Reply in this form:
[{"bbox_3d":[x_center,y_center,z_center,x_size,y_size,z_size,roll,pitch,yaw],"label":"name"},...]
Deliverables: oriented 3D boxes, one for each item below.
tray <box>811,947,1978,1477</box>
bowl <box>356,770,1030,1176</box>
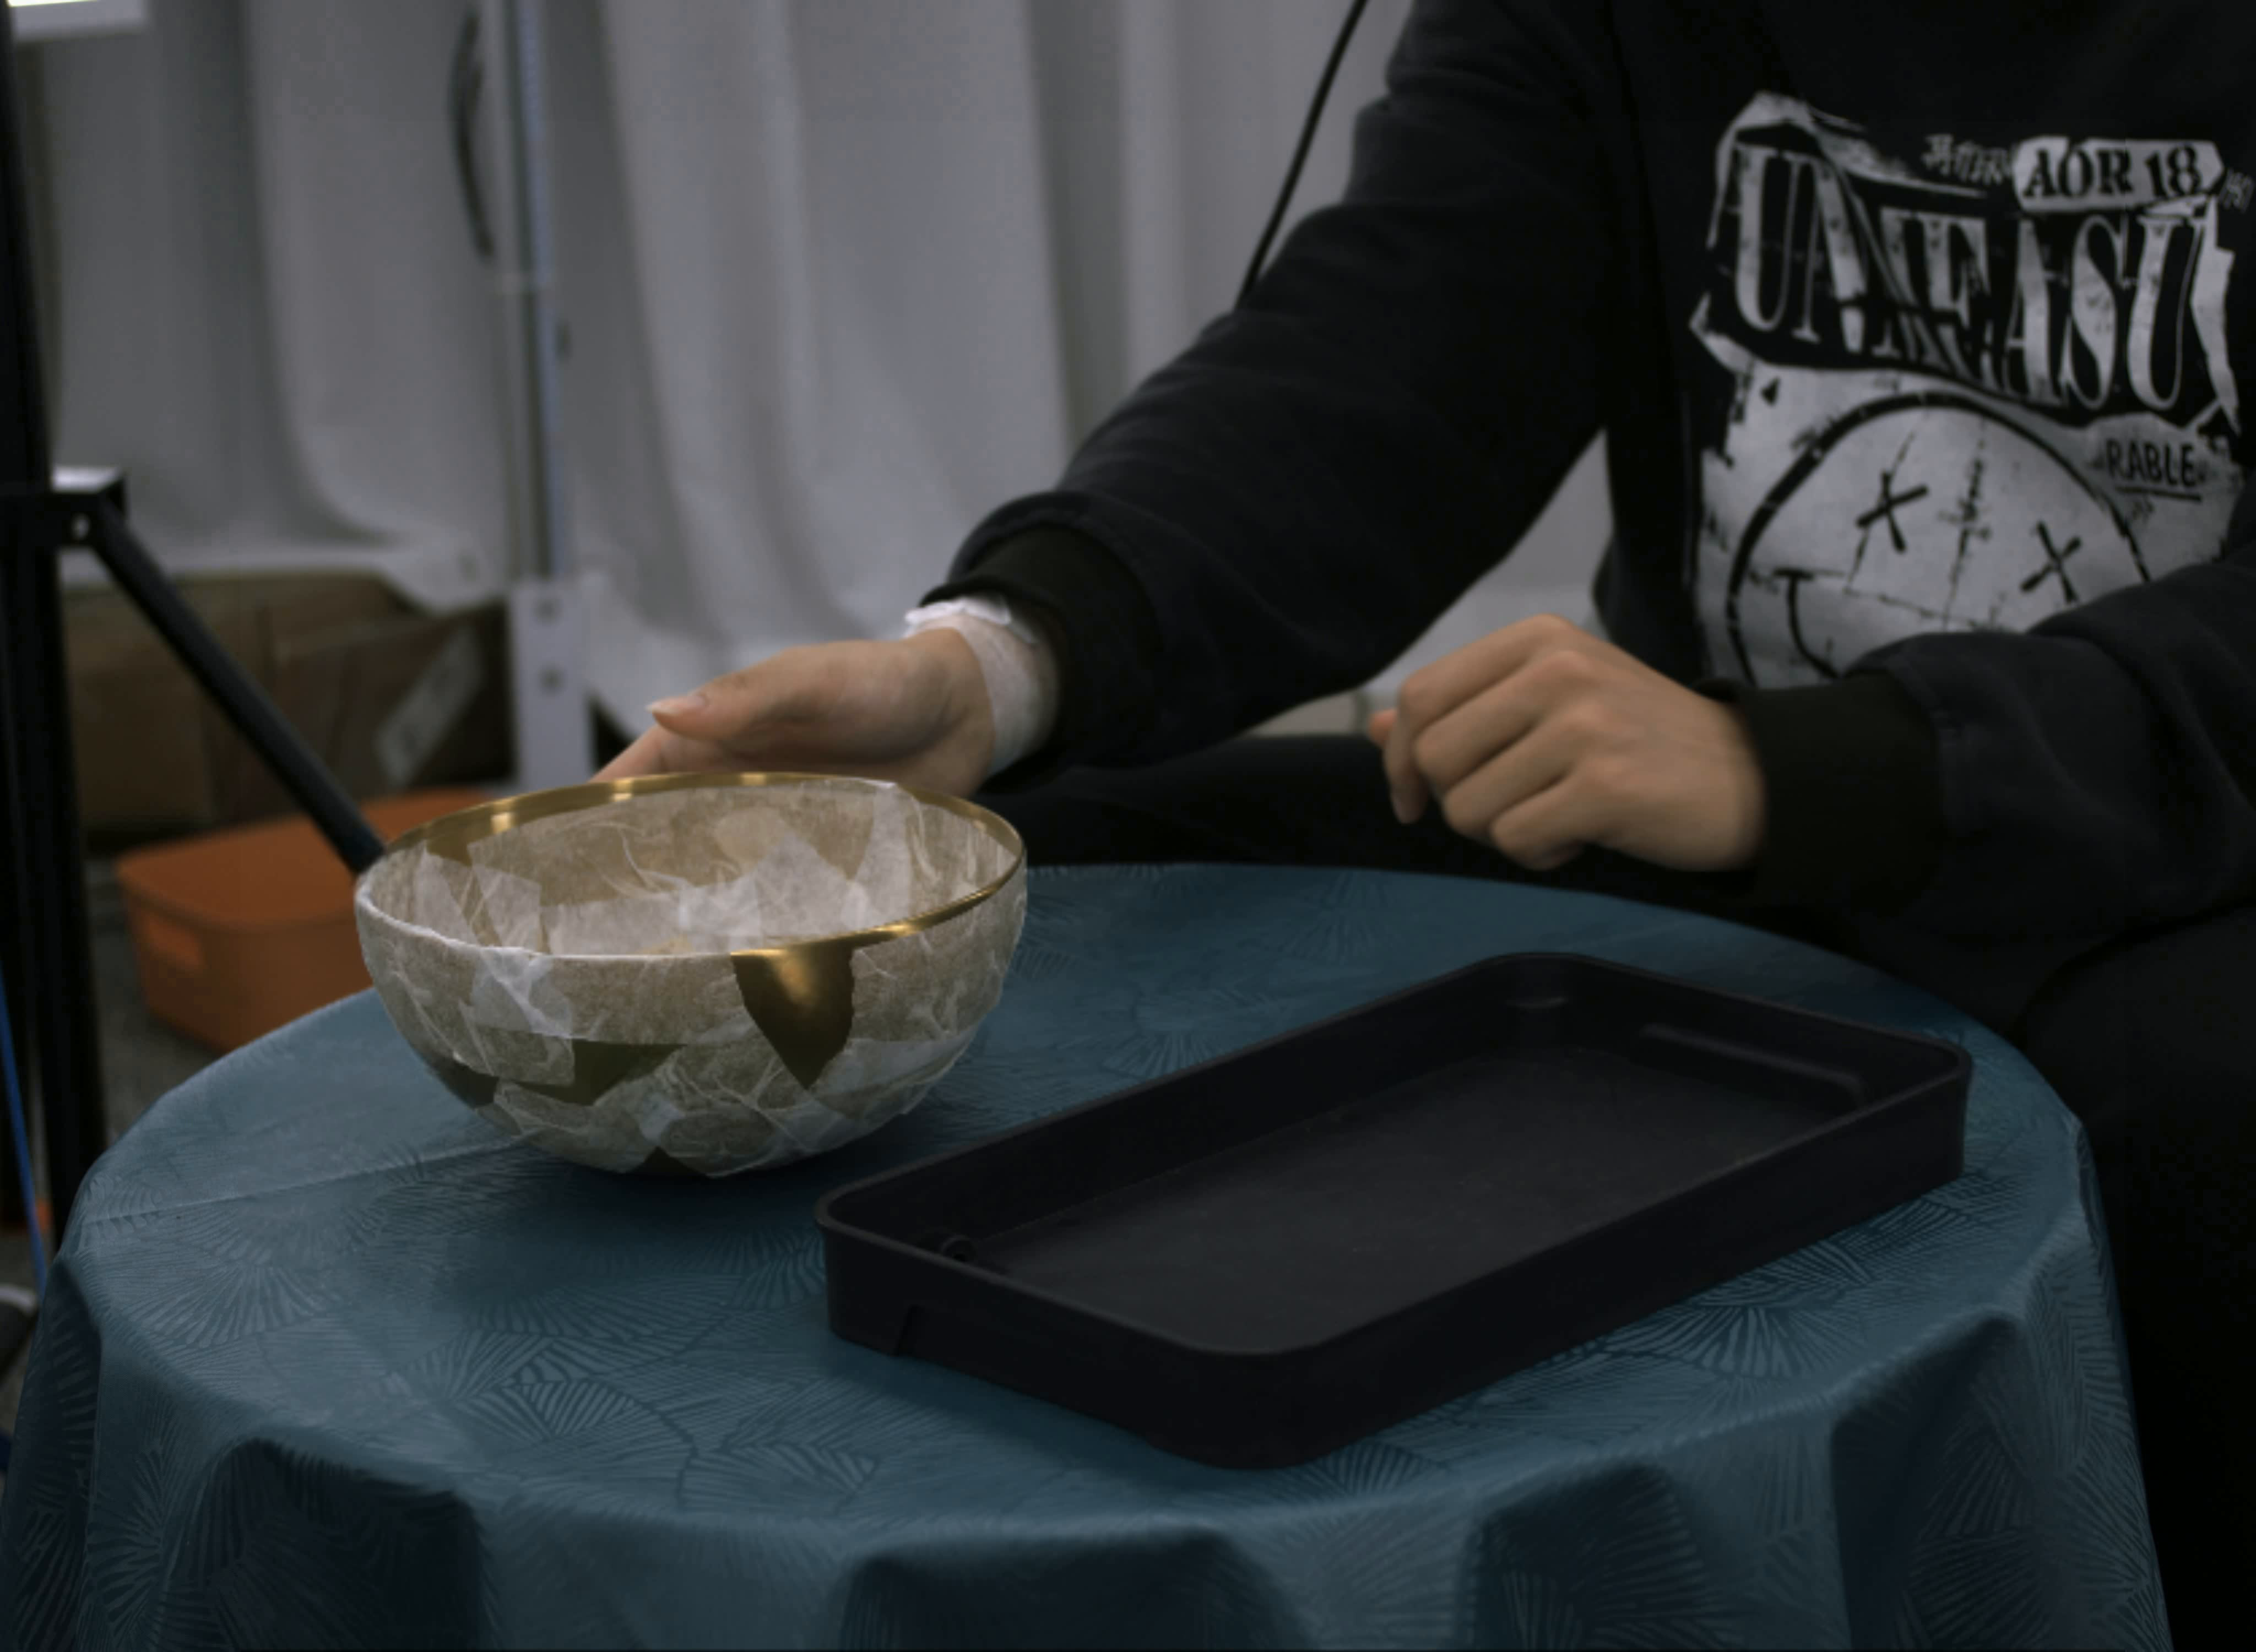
[{"bbox_3d":[0.080,0.102,1.500,0.311,0.037,0.188,-17,22,-40],"label":"tray"},{"bbox_3d":[-0.125,0.051,1.610,0.213,0.094,0.216,-3,15,0],"label":"bowl"}]
